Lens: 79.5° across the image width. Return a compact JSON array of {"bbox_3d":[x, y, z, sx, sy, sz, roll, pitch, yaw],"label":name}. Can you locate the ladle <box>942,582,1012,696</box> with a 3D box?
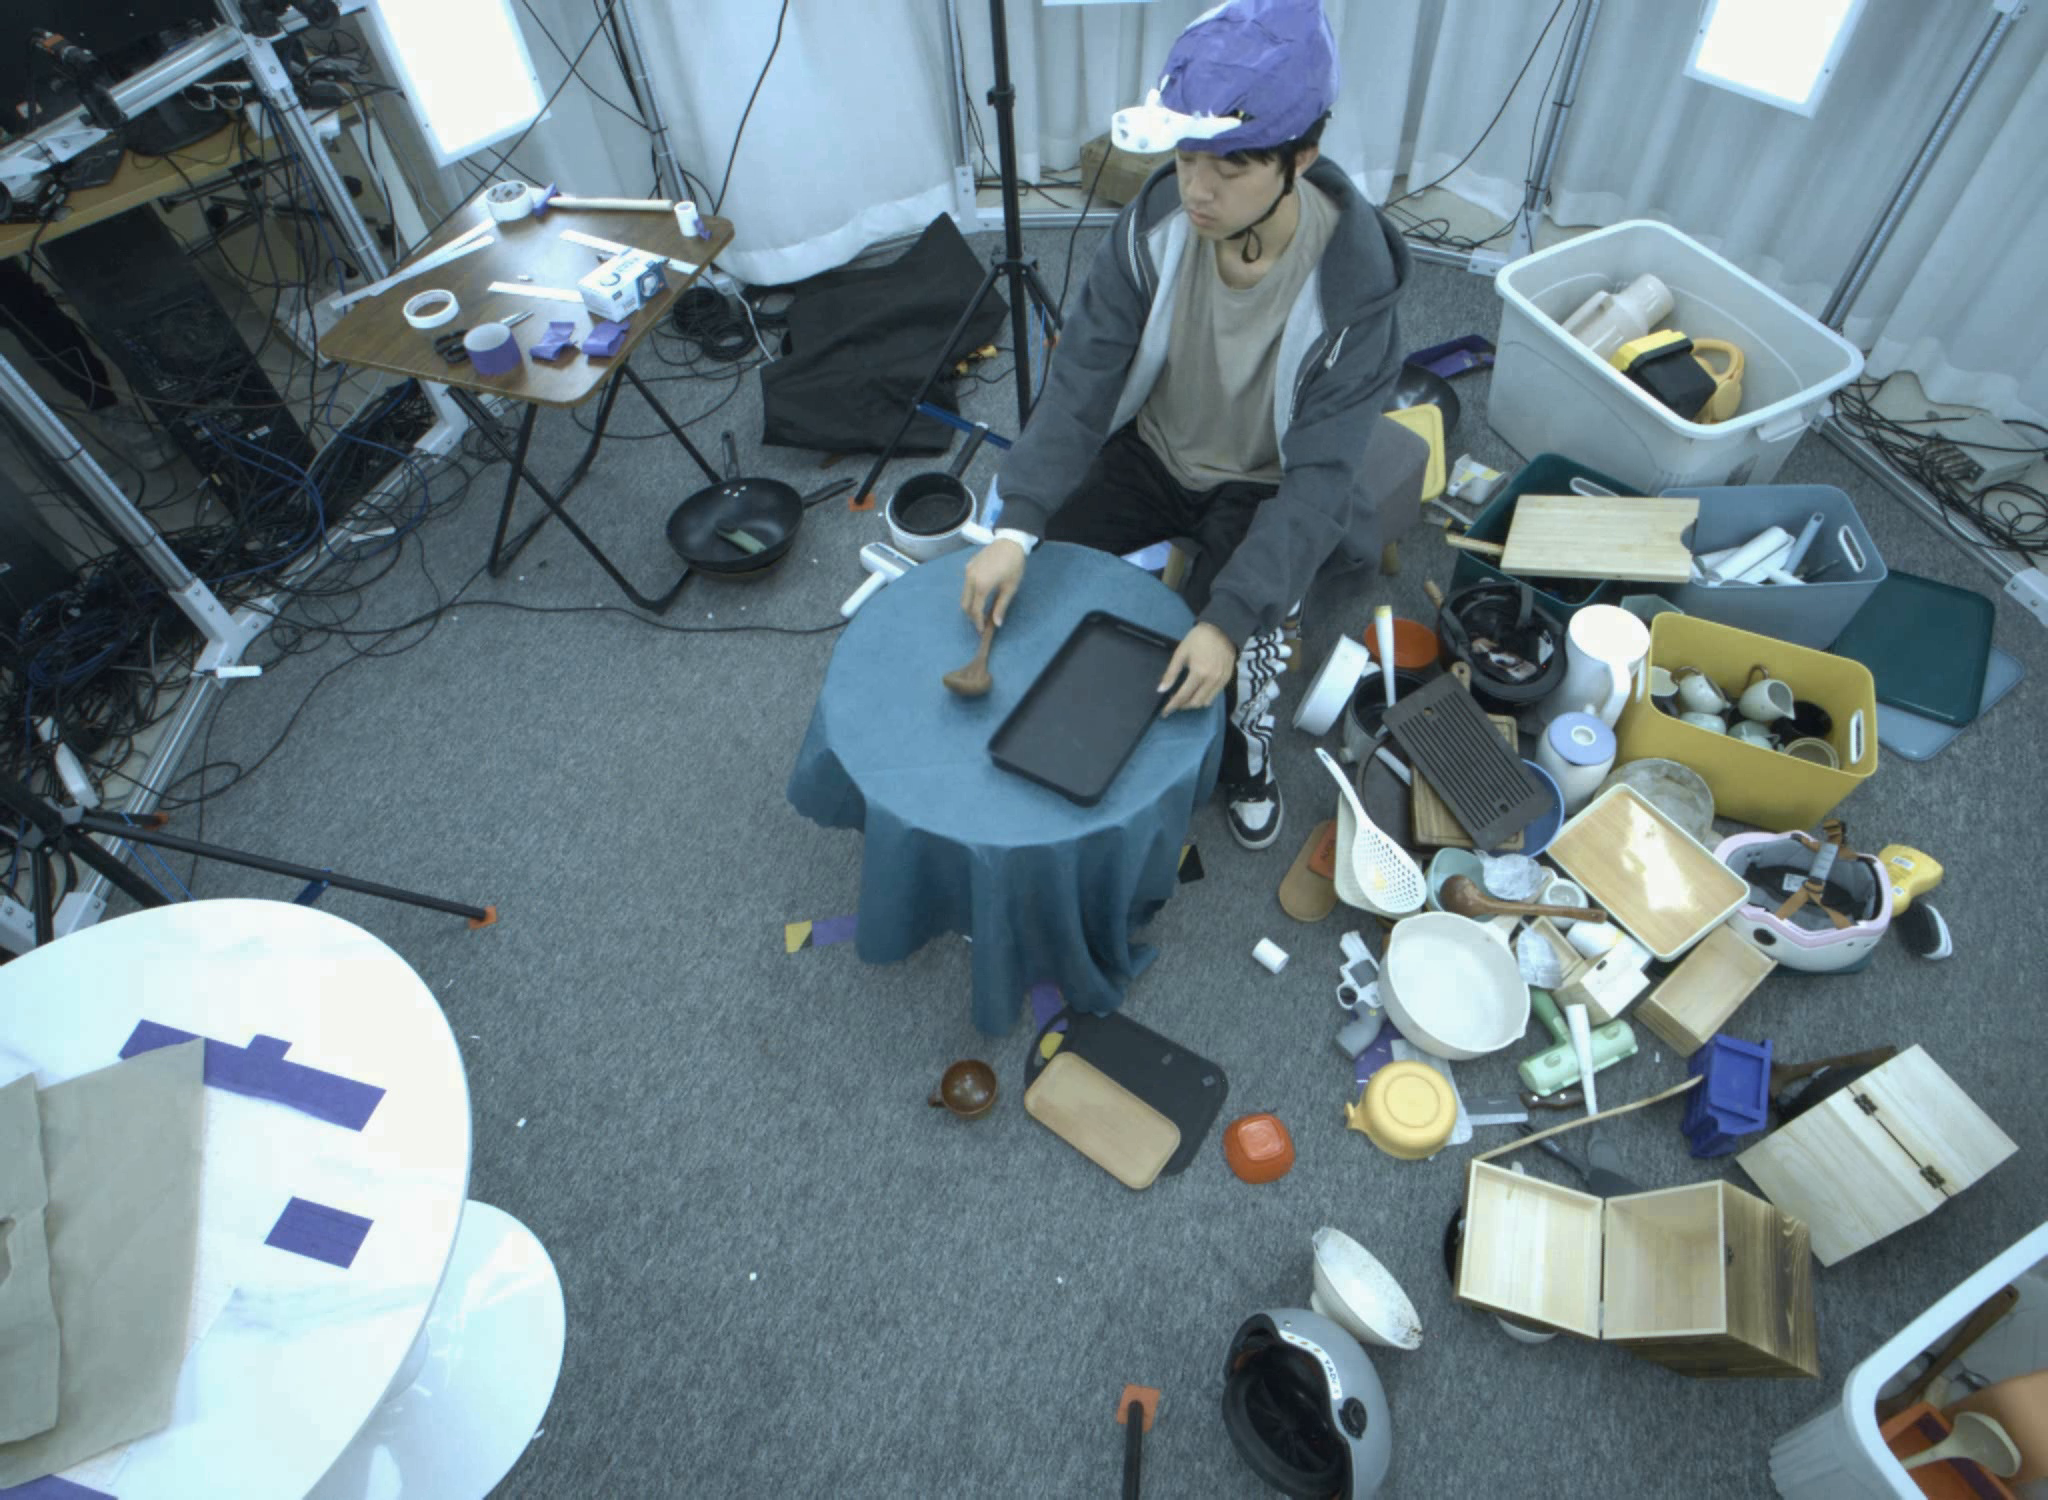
[{"bbox_3d":[-0.062,-0.181,1.881,0.076,0.066,0.259,10,56,10],"label":"ladle"}]

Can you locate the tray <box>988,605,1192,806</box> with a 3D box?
[{"bbox_3d":[0.100,-0.072,1.812,0.181,0.037,0.319,25,61,19],"label":"tray"}]
